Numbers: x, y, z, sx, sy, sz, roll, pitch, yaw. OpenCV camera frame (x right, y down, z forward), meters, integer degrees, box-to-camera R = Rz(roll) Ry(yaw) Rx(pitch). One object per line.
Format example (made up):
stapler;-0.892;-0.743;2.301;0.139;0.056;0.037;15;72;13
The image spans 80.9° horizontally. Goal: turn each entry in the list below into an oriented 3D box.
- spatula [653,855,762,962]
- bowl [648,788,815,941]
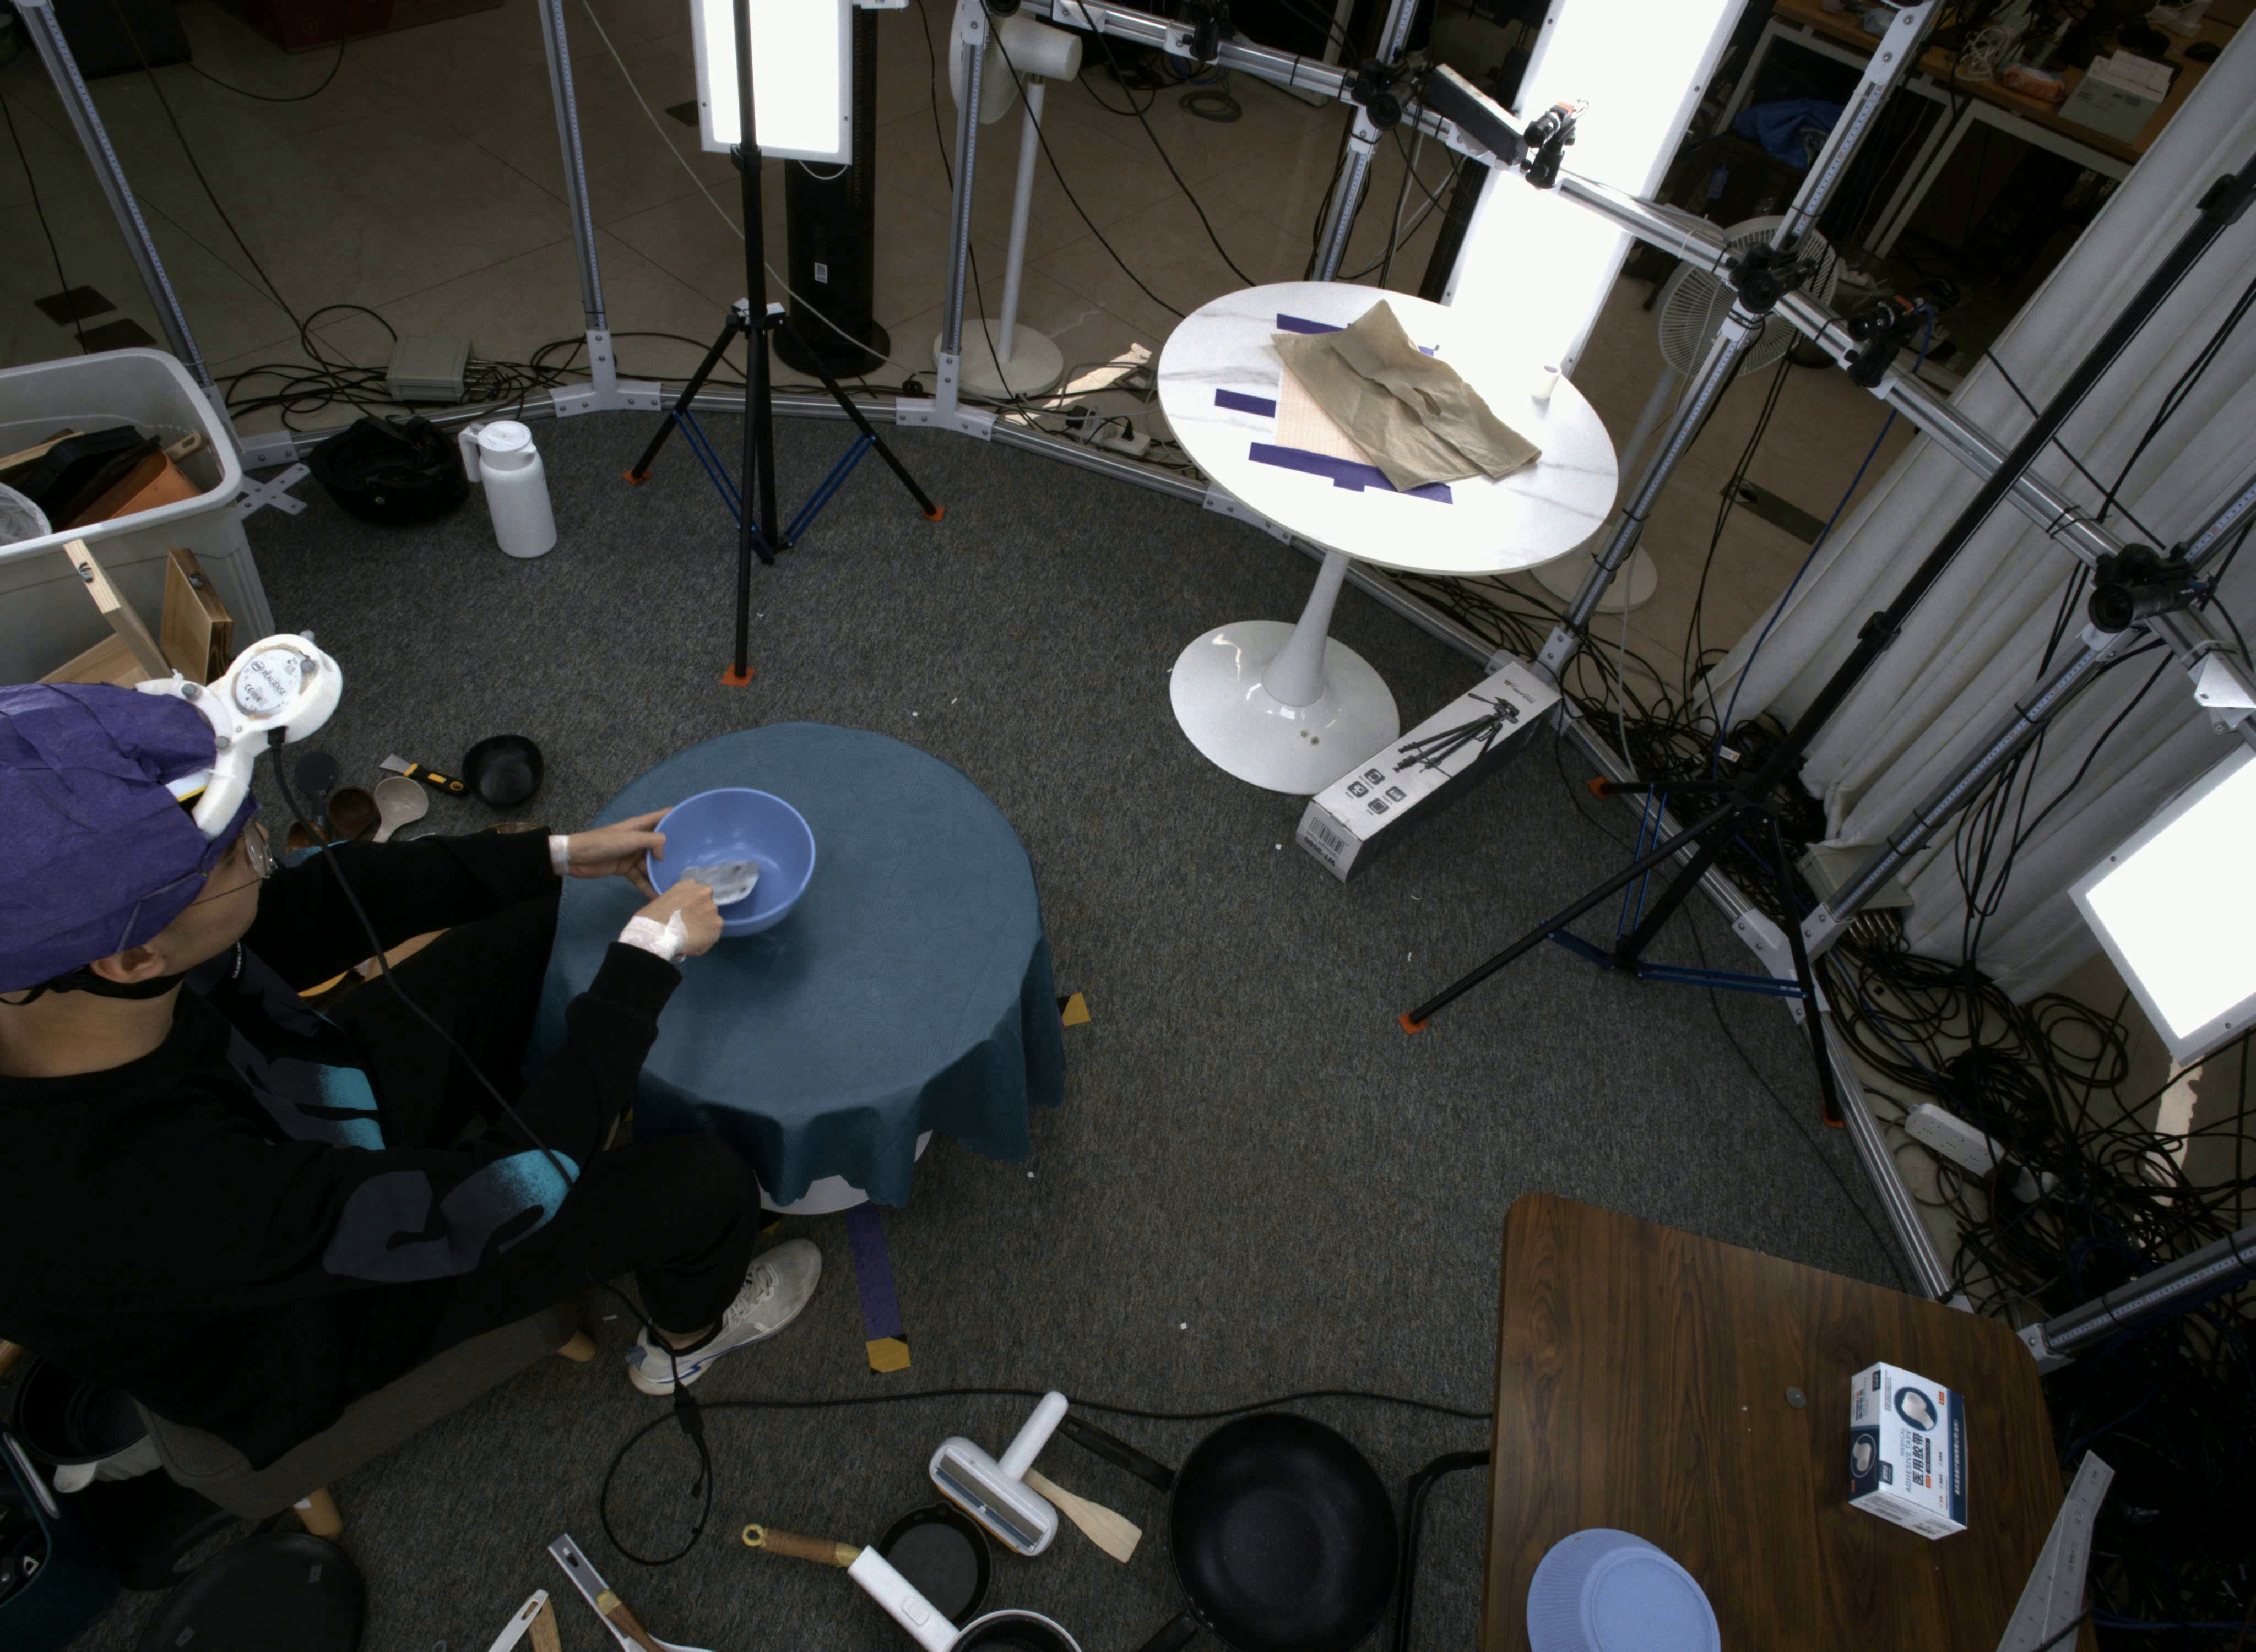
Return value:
spatula;-0.481;0.084;1.443;0.098;0.359;0.046;-6;99;-6
bowl;-0.479;0.060;1.576;0.196;0.097;0.193;7;57;-9
